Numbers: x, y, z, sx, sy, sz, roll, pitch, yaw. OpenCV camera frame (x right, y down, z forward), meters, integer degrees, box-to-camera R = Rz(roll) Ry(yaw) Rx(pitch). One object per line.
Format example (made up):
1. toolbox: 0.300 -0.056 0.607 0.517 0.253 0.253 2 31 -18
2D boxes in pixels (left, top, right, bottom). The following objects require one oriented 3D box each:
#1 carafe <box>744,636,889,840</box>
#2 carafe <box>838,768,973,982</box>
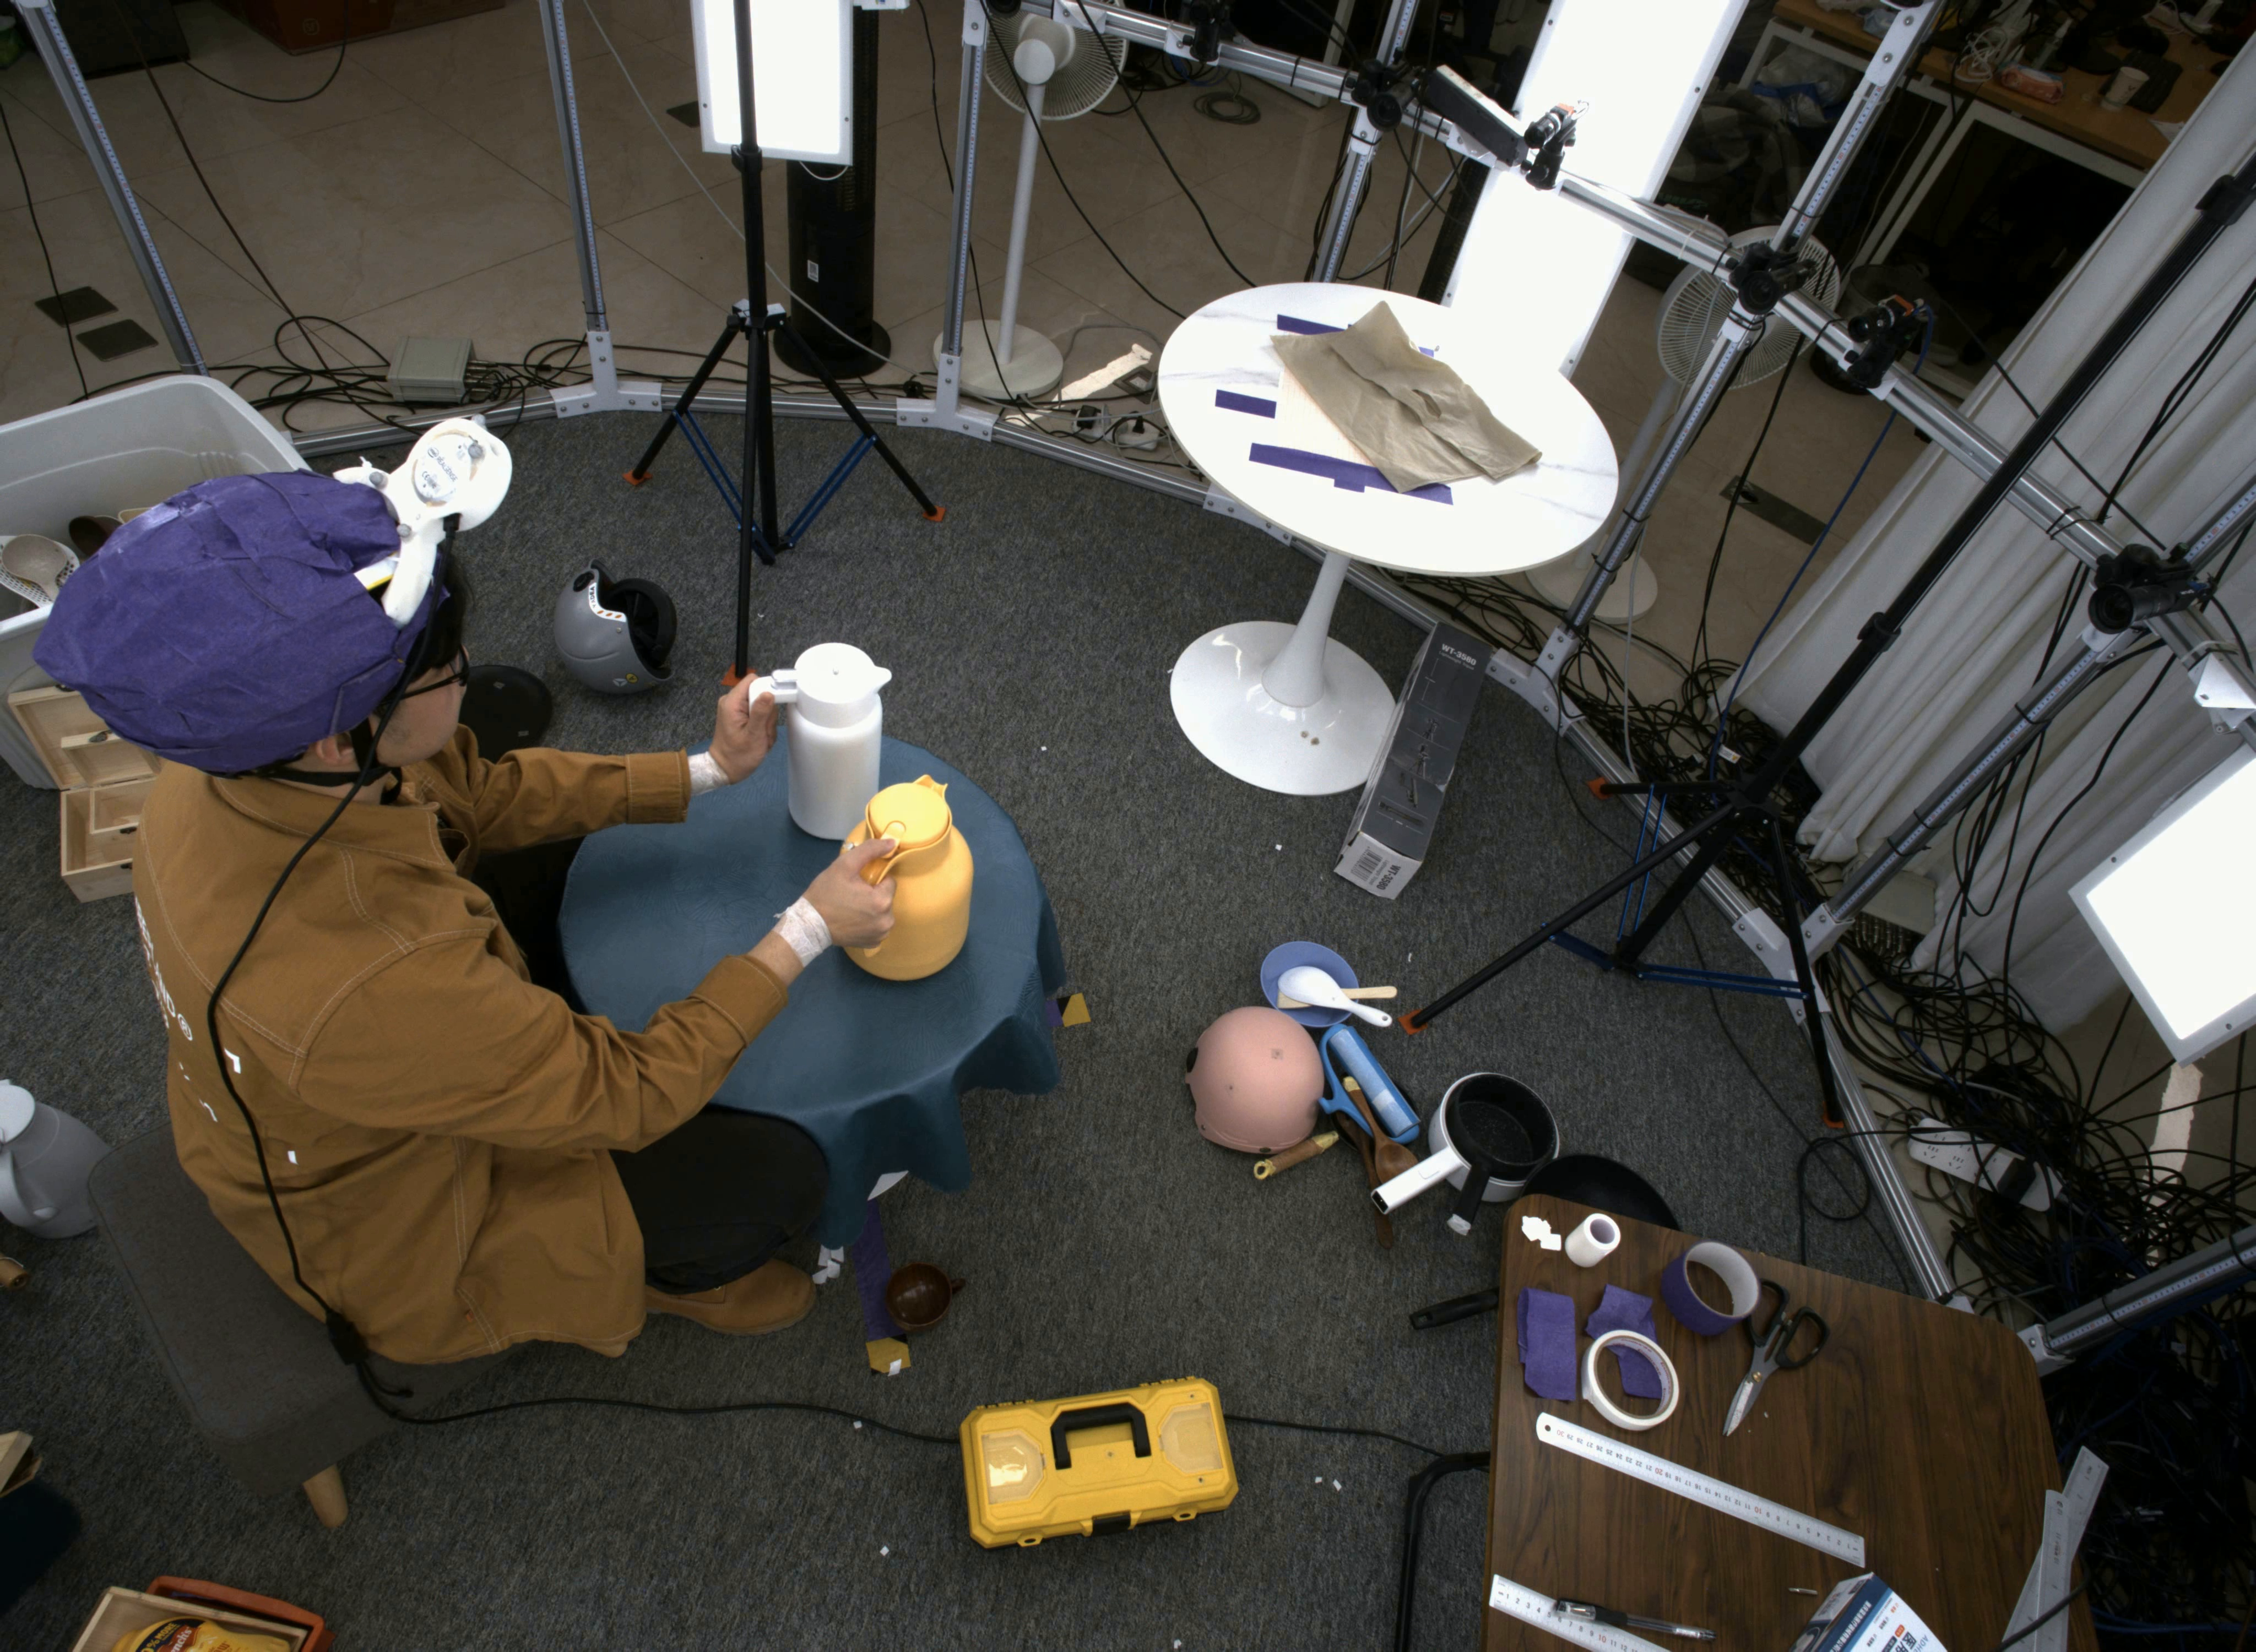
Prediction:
1. carafe: -0.391 -0.105 1.634 0.173 0.274 0.121 -7 56 -18
2. carafe: -0.274 0.068 1.538 0.160 0.267 0.201 23 49 10
